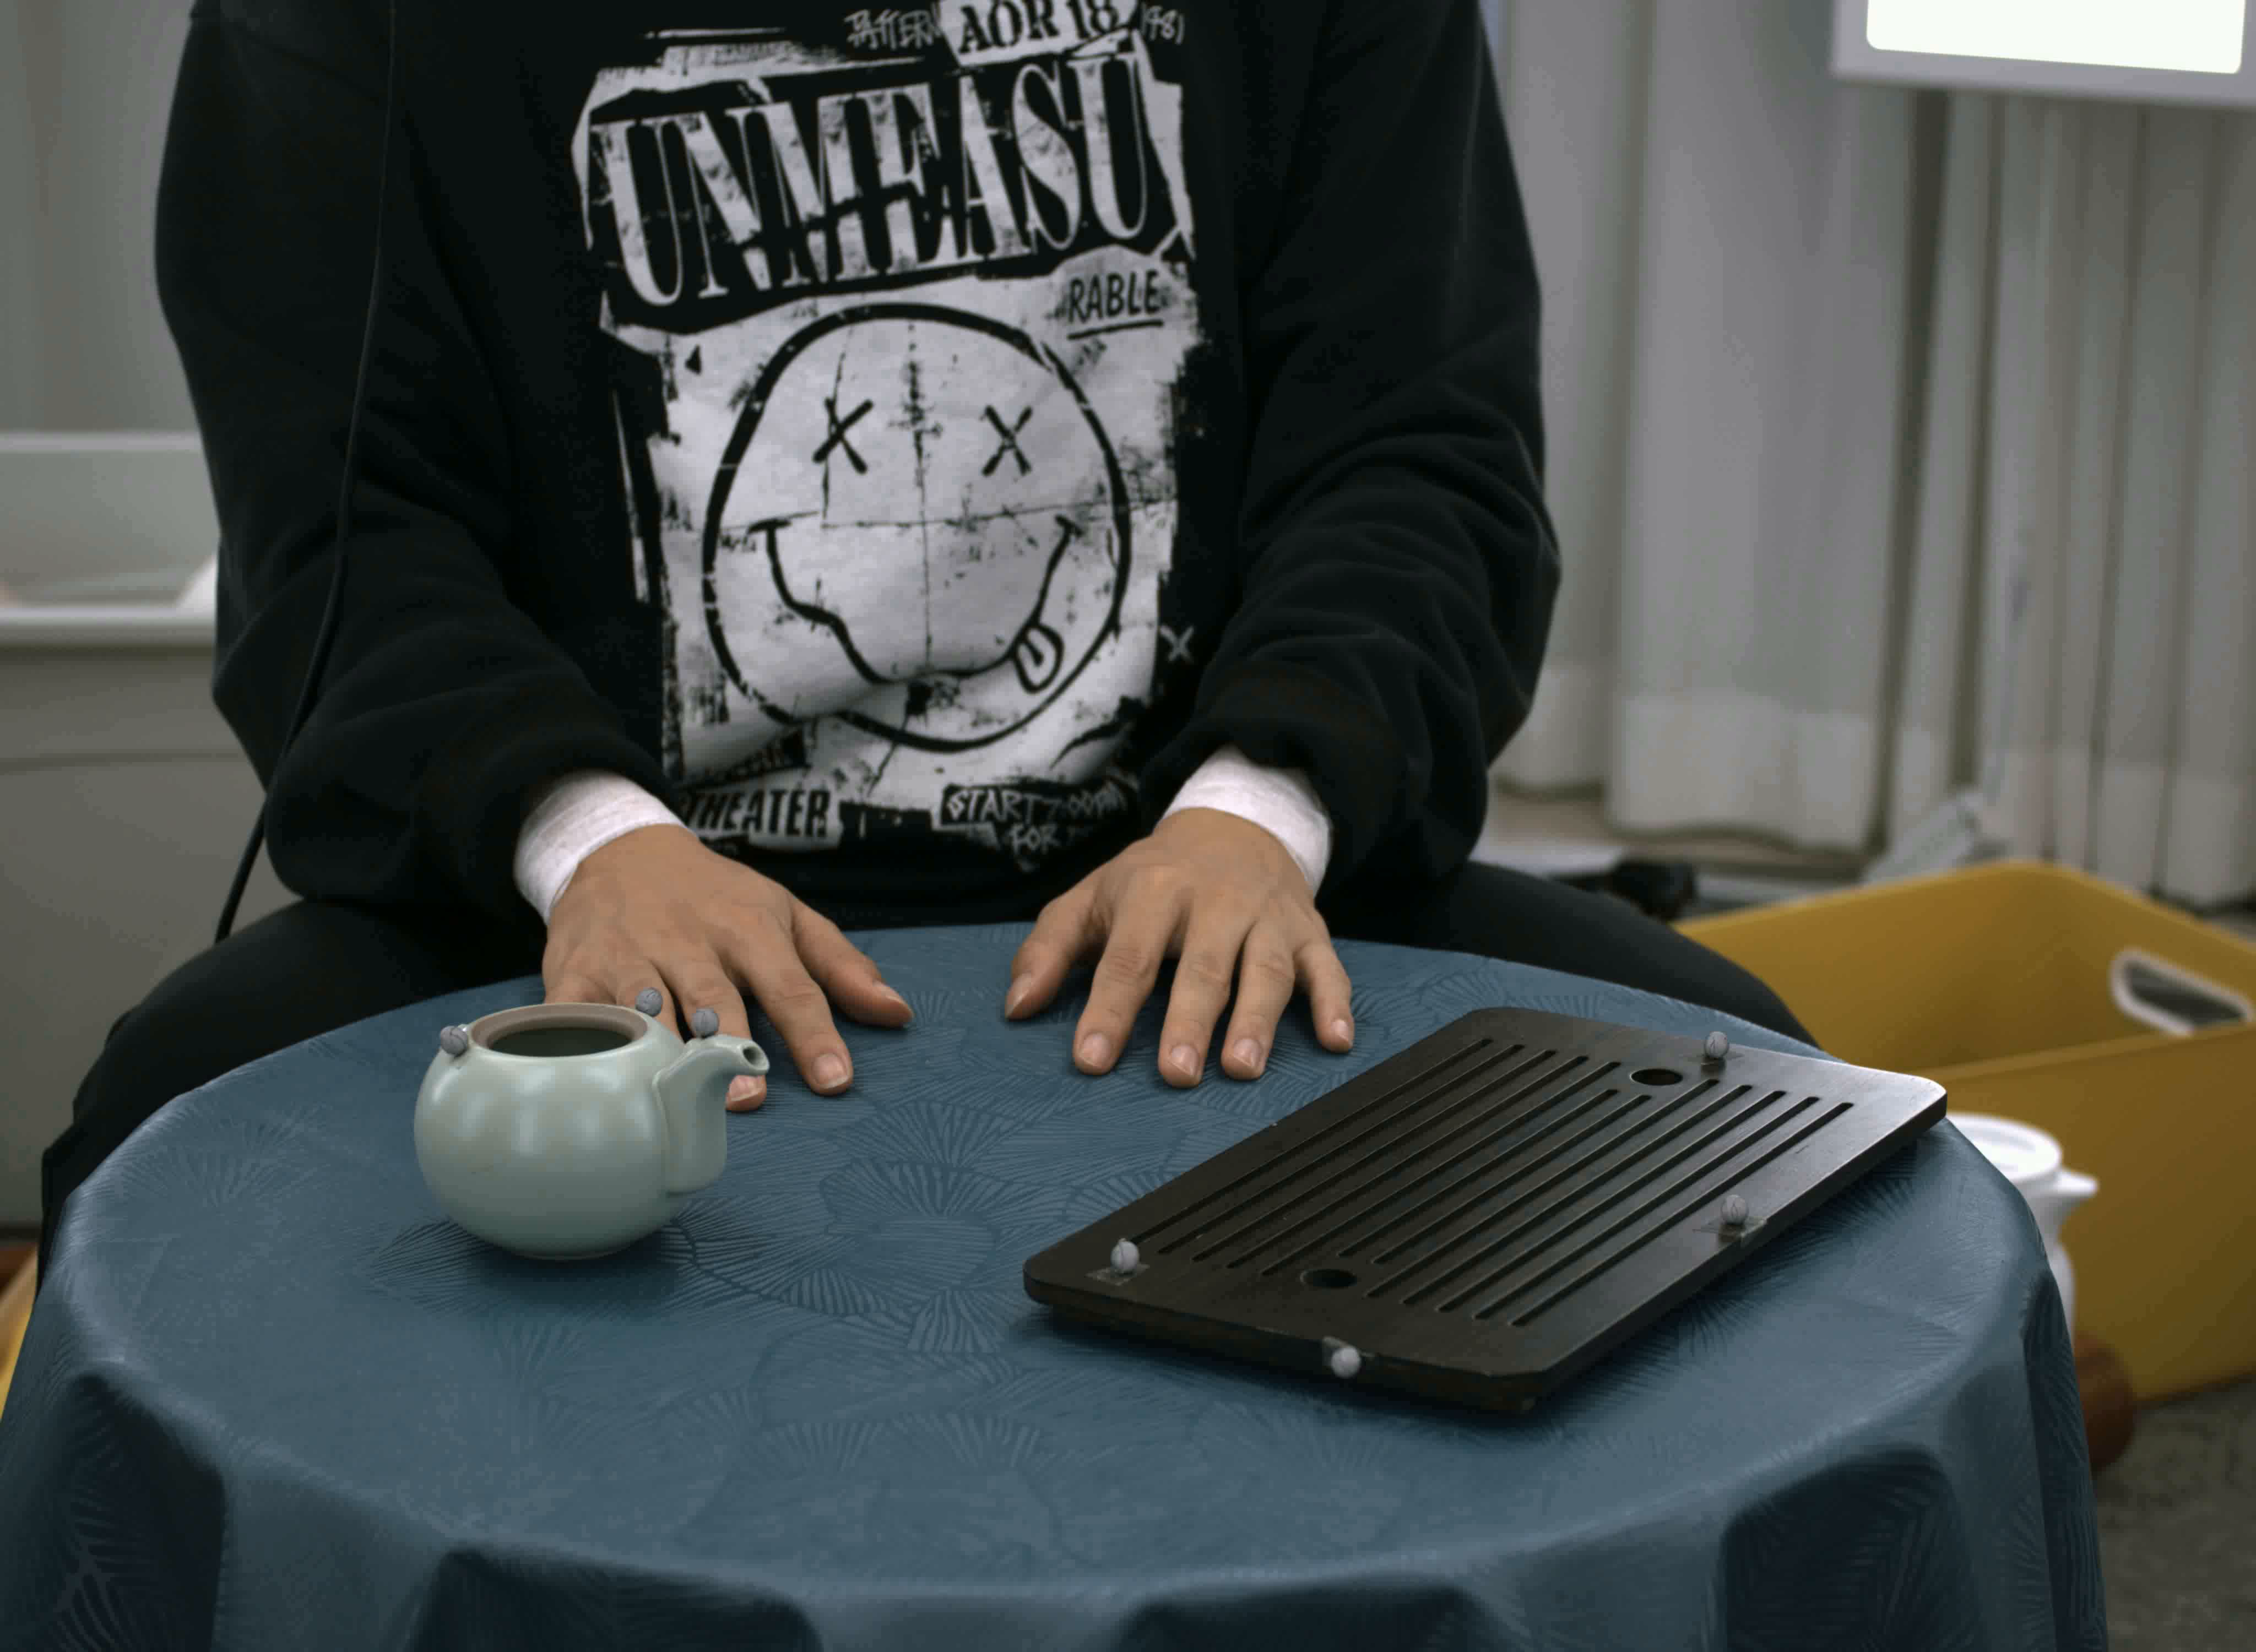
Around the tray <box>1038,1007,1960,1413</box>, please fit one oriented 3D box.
[{"bbox_3d":[0.119,0.112,1.592,0.168,0.019,0.307,9,17,30],"label":"tray"}]

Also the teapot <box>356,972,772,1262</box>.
[{"bbox_3d":[-0.168,0.088,1.568,0.142,0.075,0.088,10,19,27],"label":"teapot"}]
